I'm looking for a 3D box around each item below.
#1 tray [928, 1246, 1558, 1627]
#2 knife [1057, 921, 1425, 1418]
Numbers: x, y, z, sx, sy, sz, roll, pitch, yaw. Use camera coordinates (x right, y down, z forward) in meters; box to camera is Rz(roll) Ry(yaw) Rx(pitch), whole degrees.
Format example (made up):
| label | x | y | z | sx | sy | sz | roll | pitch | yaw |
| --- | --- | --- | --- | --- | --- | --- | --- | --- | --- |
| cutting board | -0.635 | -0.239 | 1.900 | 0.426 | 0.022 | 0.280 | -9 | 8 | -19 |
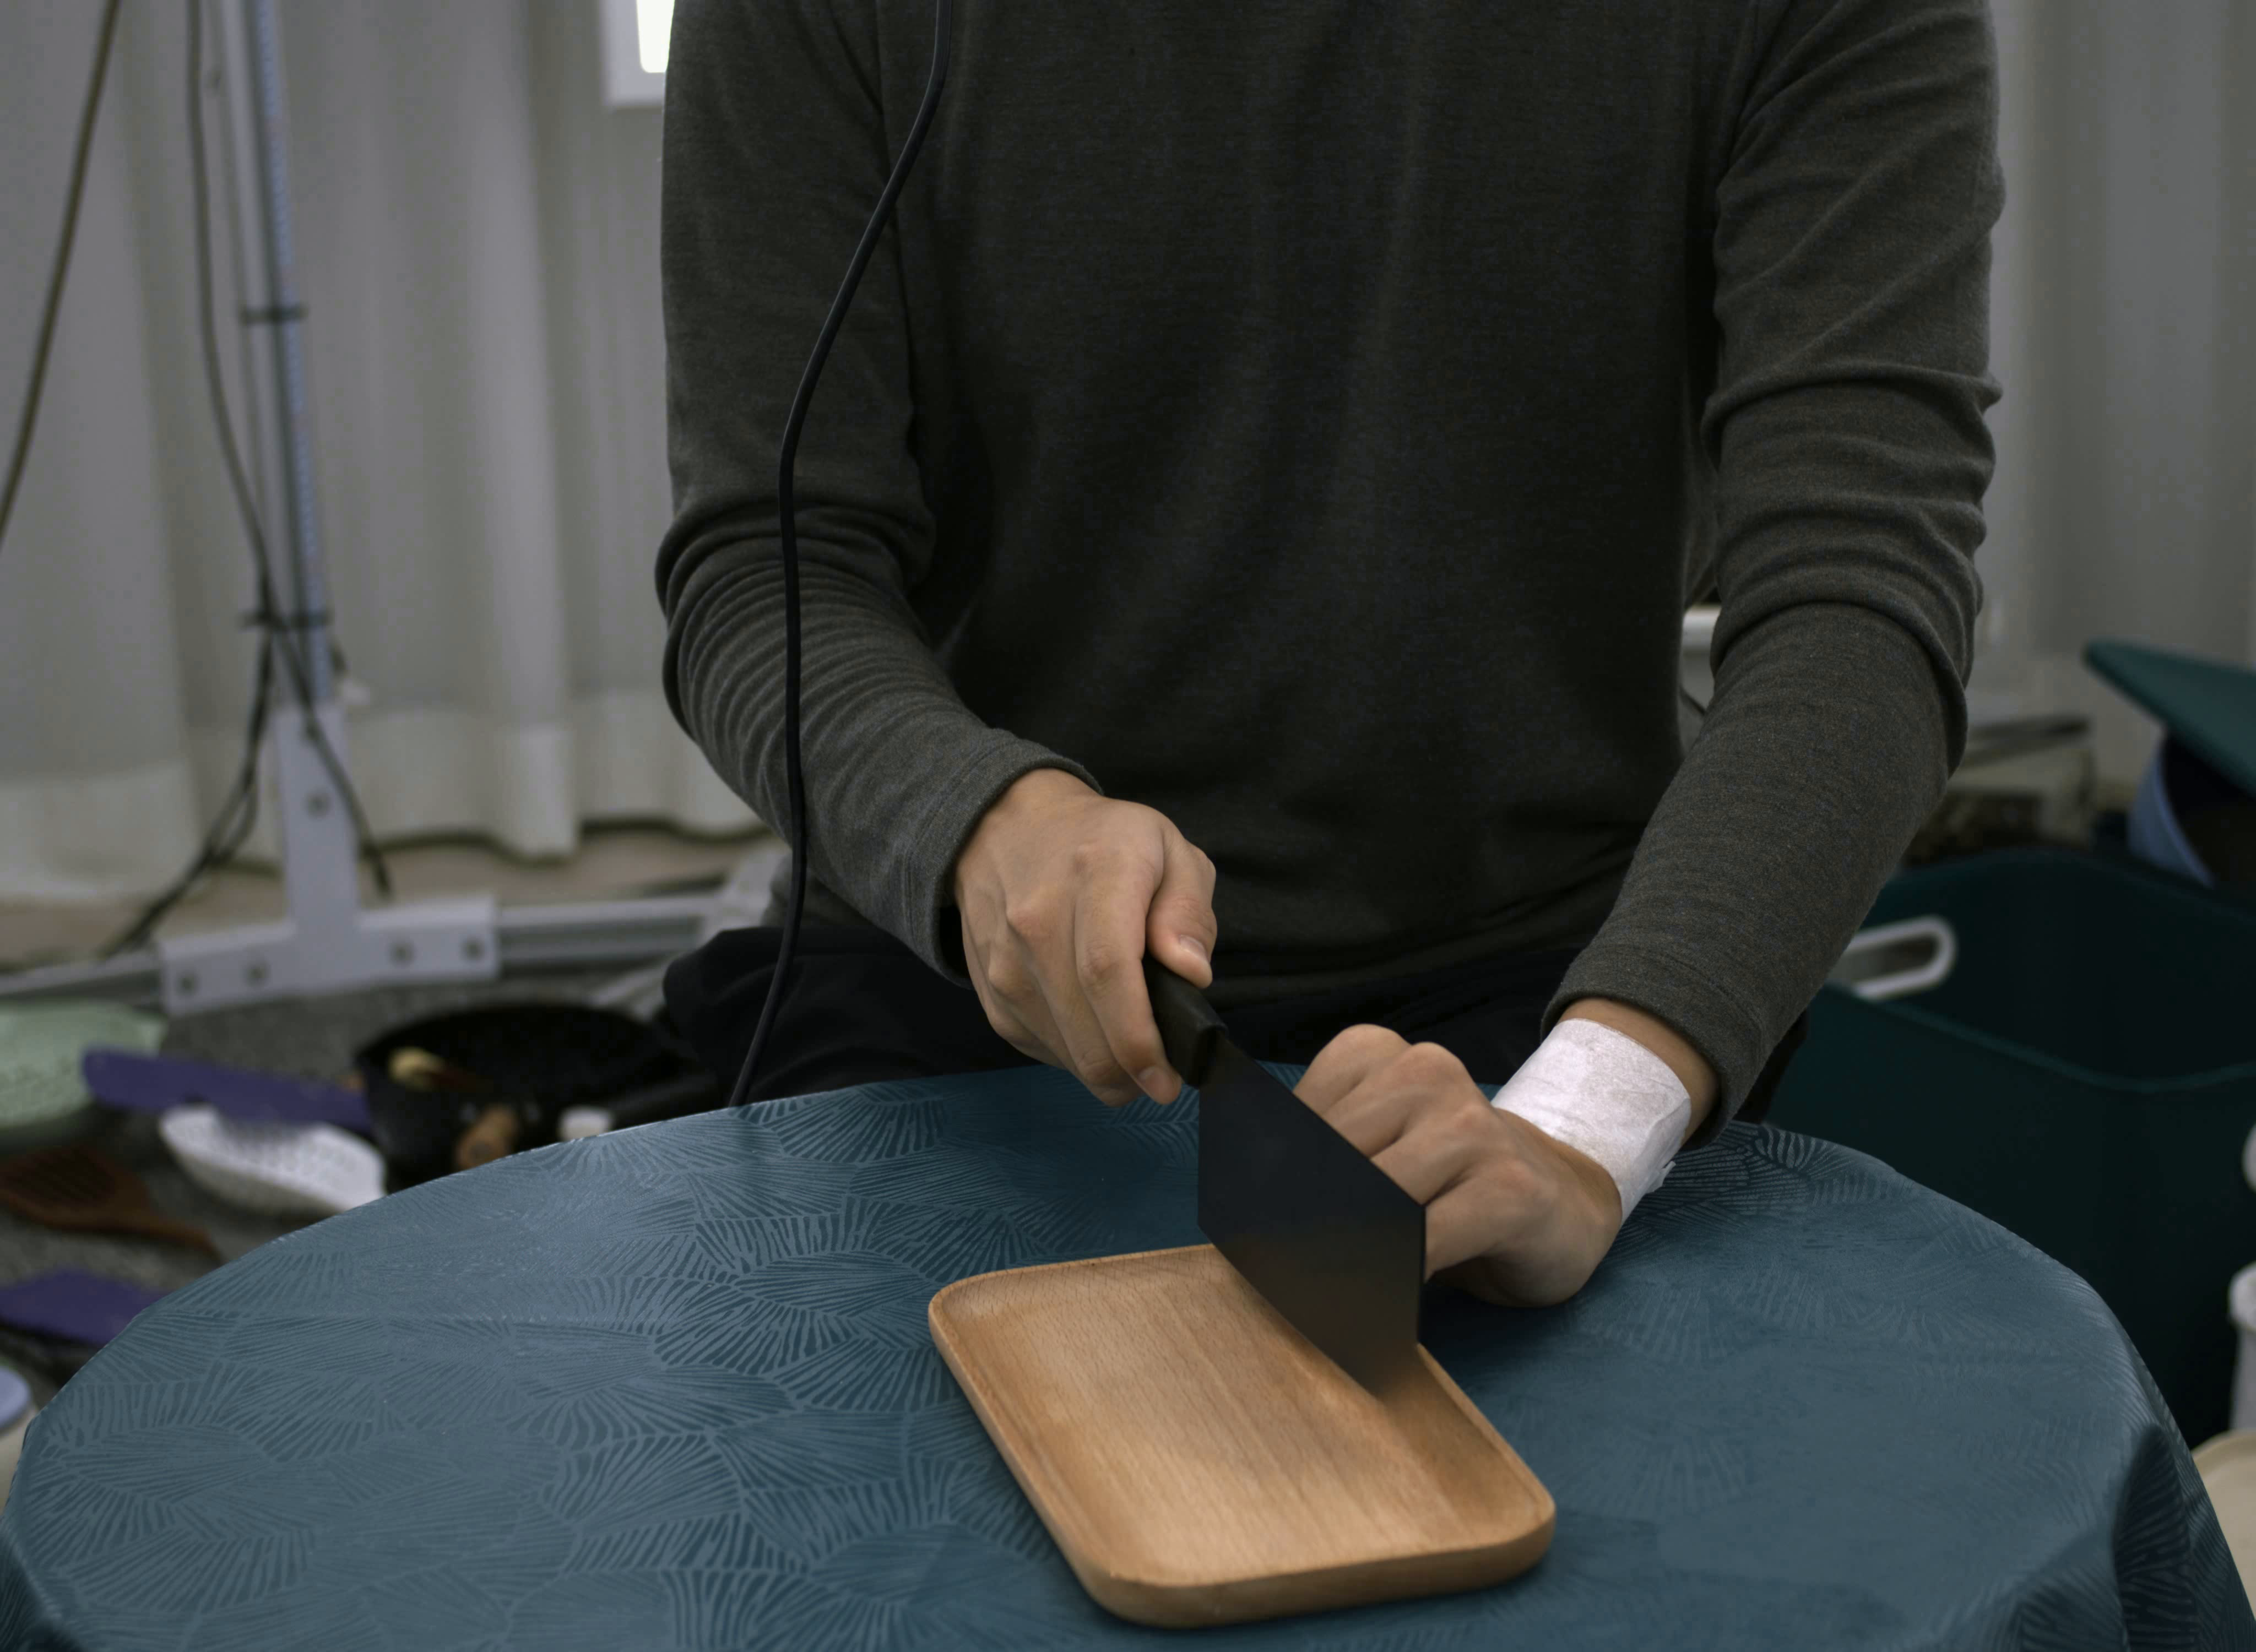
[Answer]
| label | x | y | z | sx | sy | sz | roll | pitch | yaw |
| --- | --- | --- | --- | --- | --- | --- | --- | --- | --- |
| tray | 0.027 | 0.164 | 1.498 | 0.130 | 0.023 | 0.252 | -3 | 13 | -12 |
| knife | 0.031 | 0.091 | 1.576 | 0.021 | 0.080 | 0.305 | -2 | 19 | -18 |
